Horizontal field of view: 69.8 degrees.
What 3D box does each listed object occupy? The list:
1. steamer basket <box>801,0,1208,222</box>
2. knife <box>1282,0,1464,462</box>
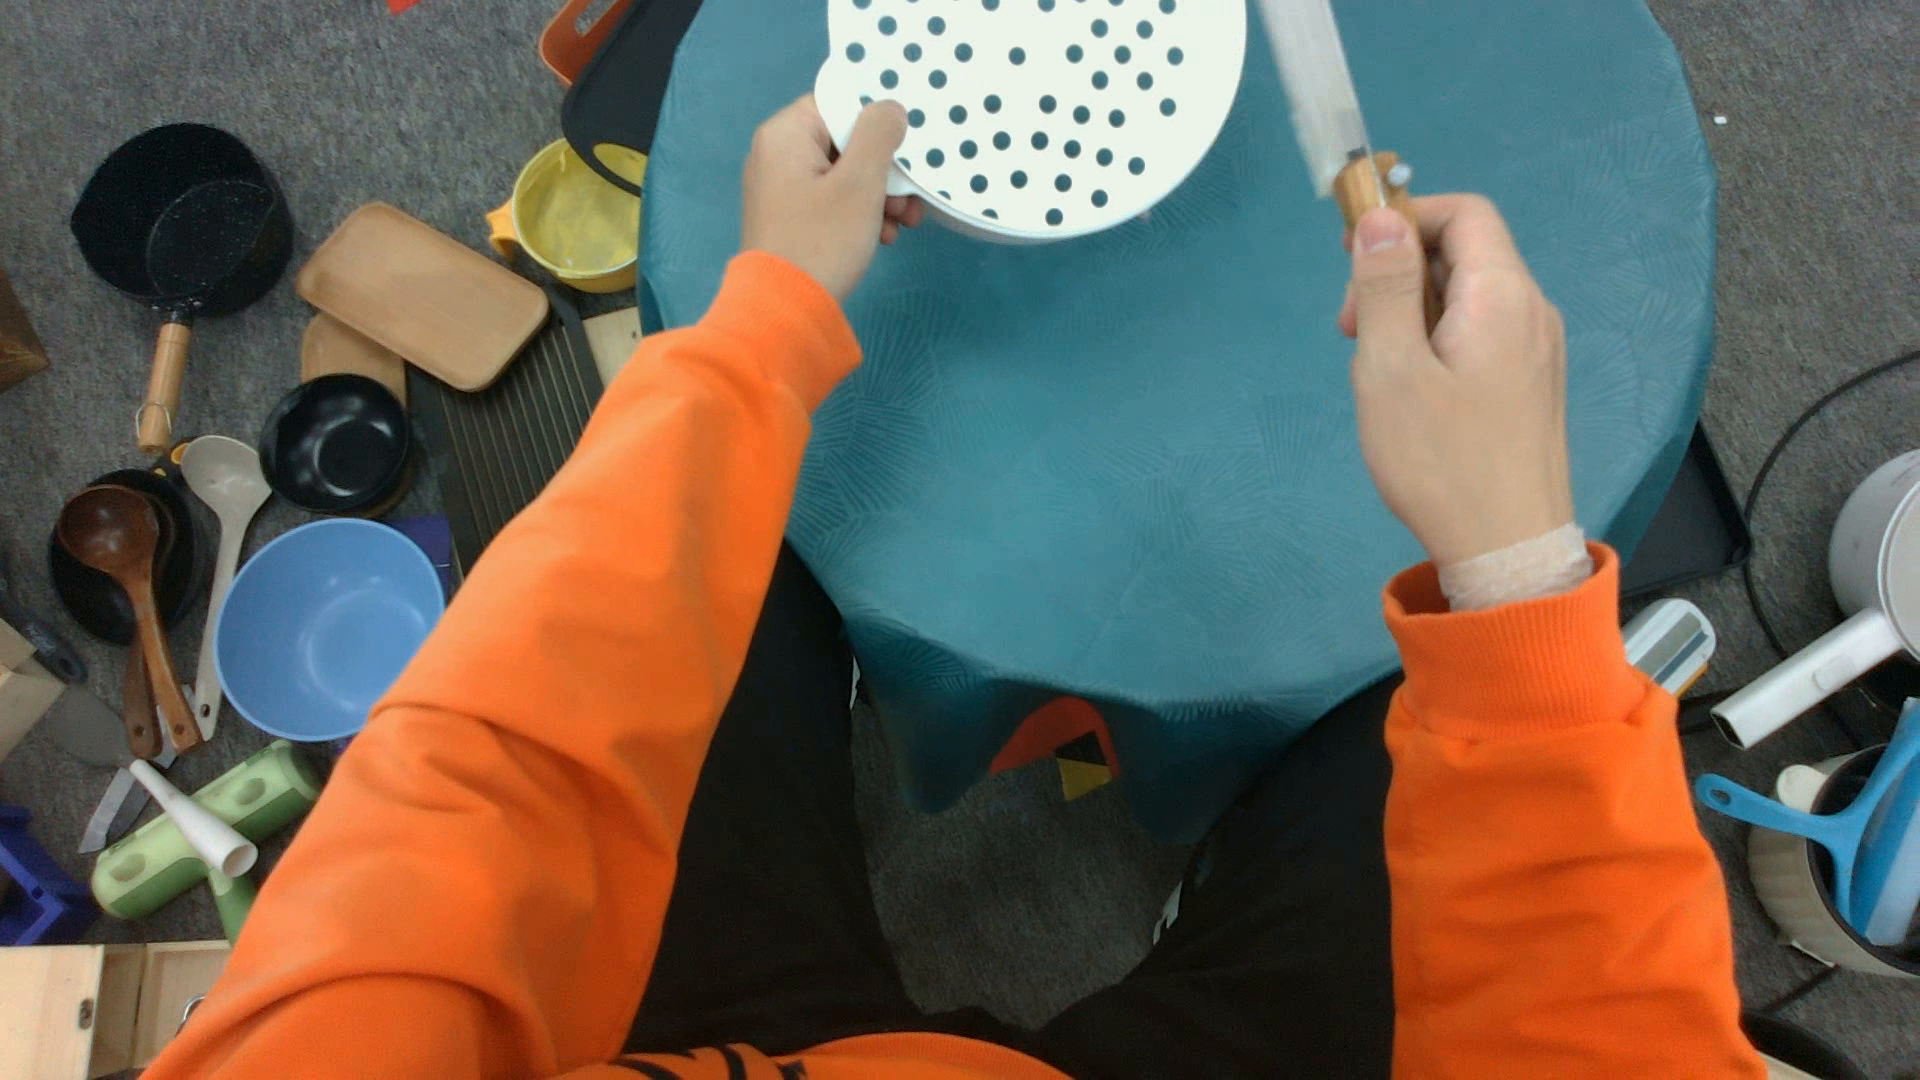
[{"bbox_3d":[0.021,-0.263,0.701,0.231,0.069,0.202,-36,97,-11],"label":"steamer basket"},{"bbox_3d":[0.140,-0.180,0.530,0.021,0.093,0.305,-16,97,11],"label":"knife"}]
